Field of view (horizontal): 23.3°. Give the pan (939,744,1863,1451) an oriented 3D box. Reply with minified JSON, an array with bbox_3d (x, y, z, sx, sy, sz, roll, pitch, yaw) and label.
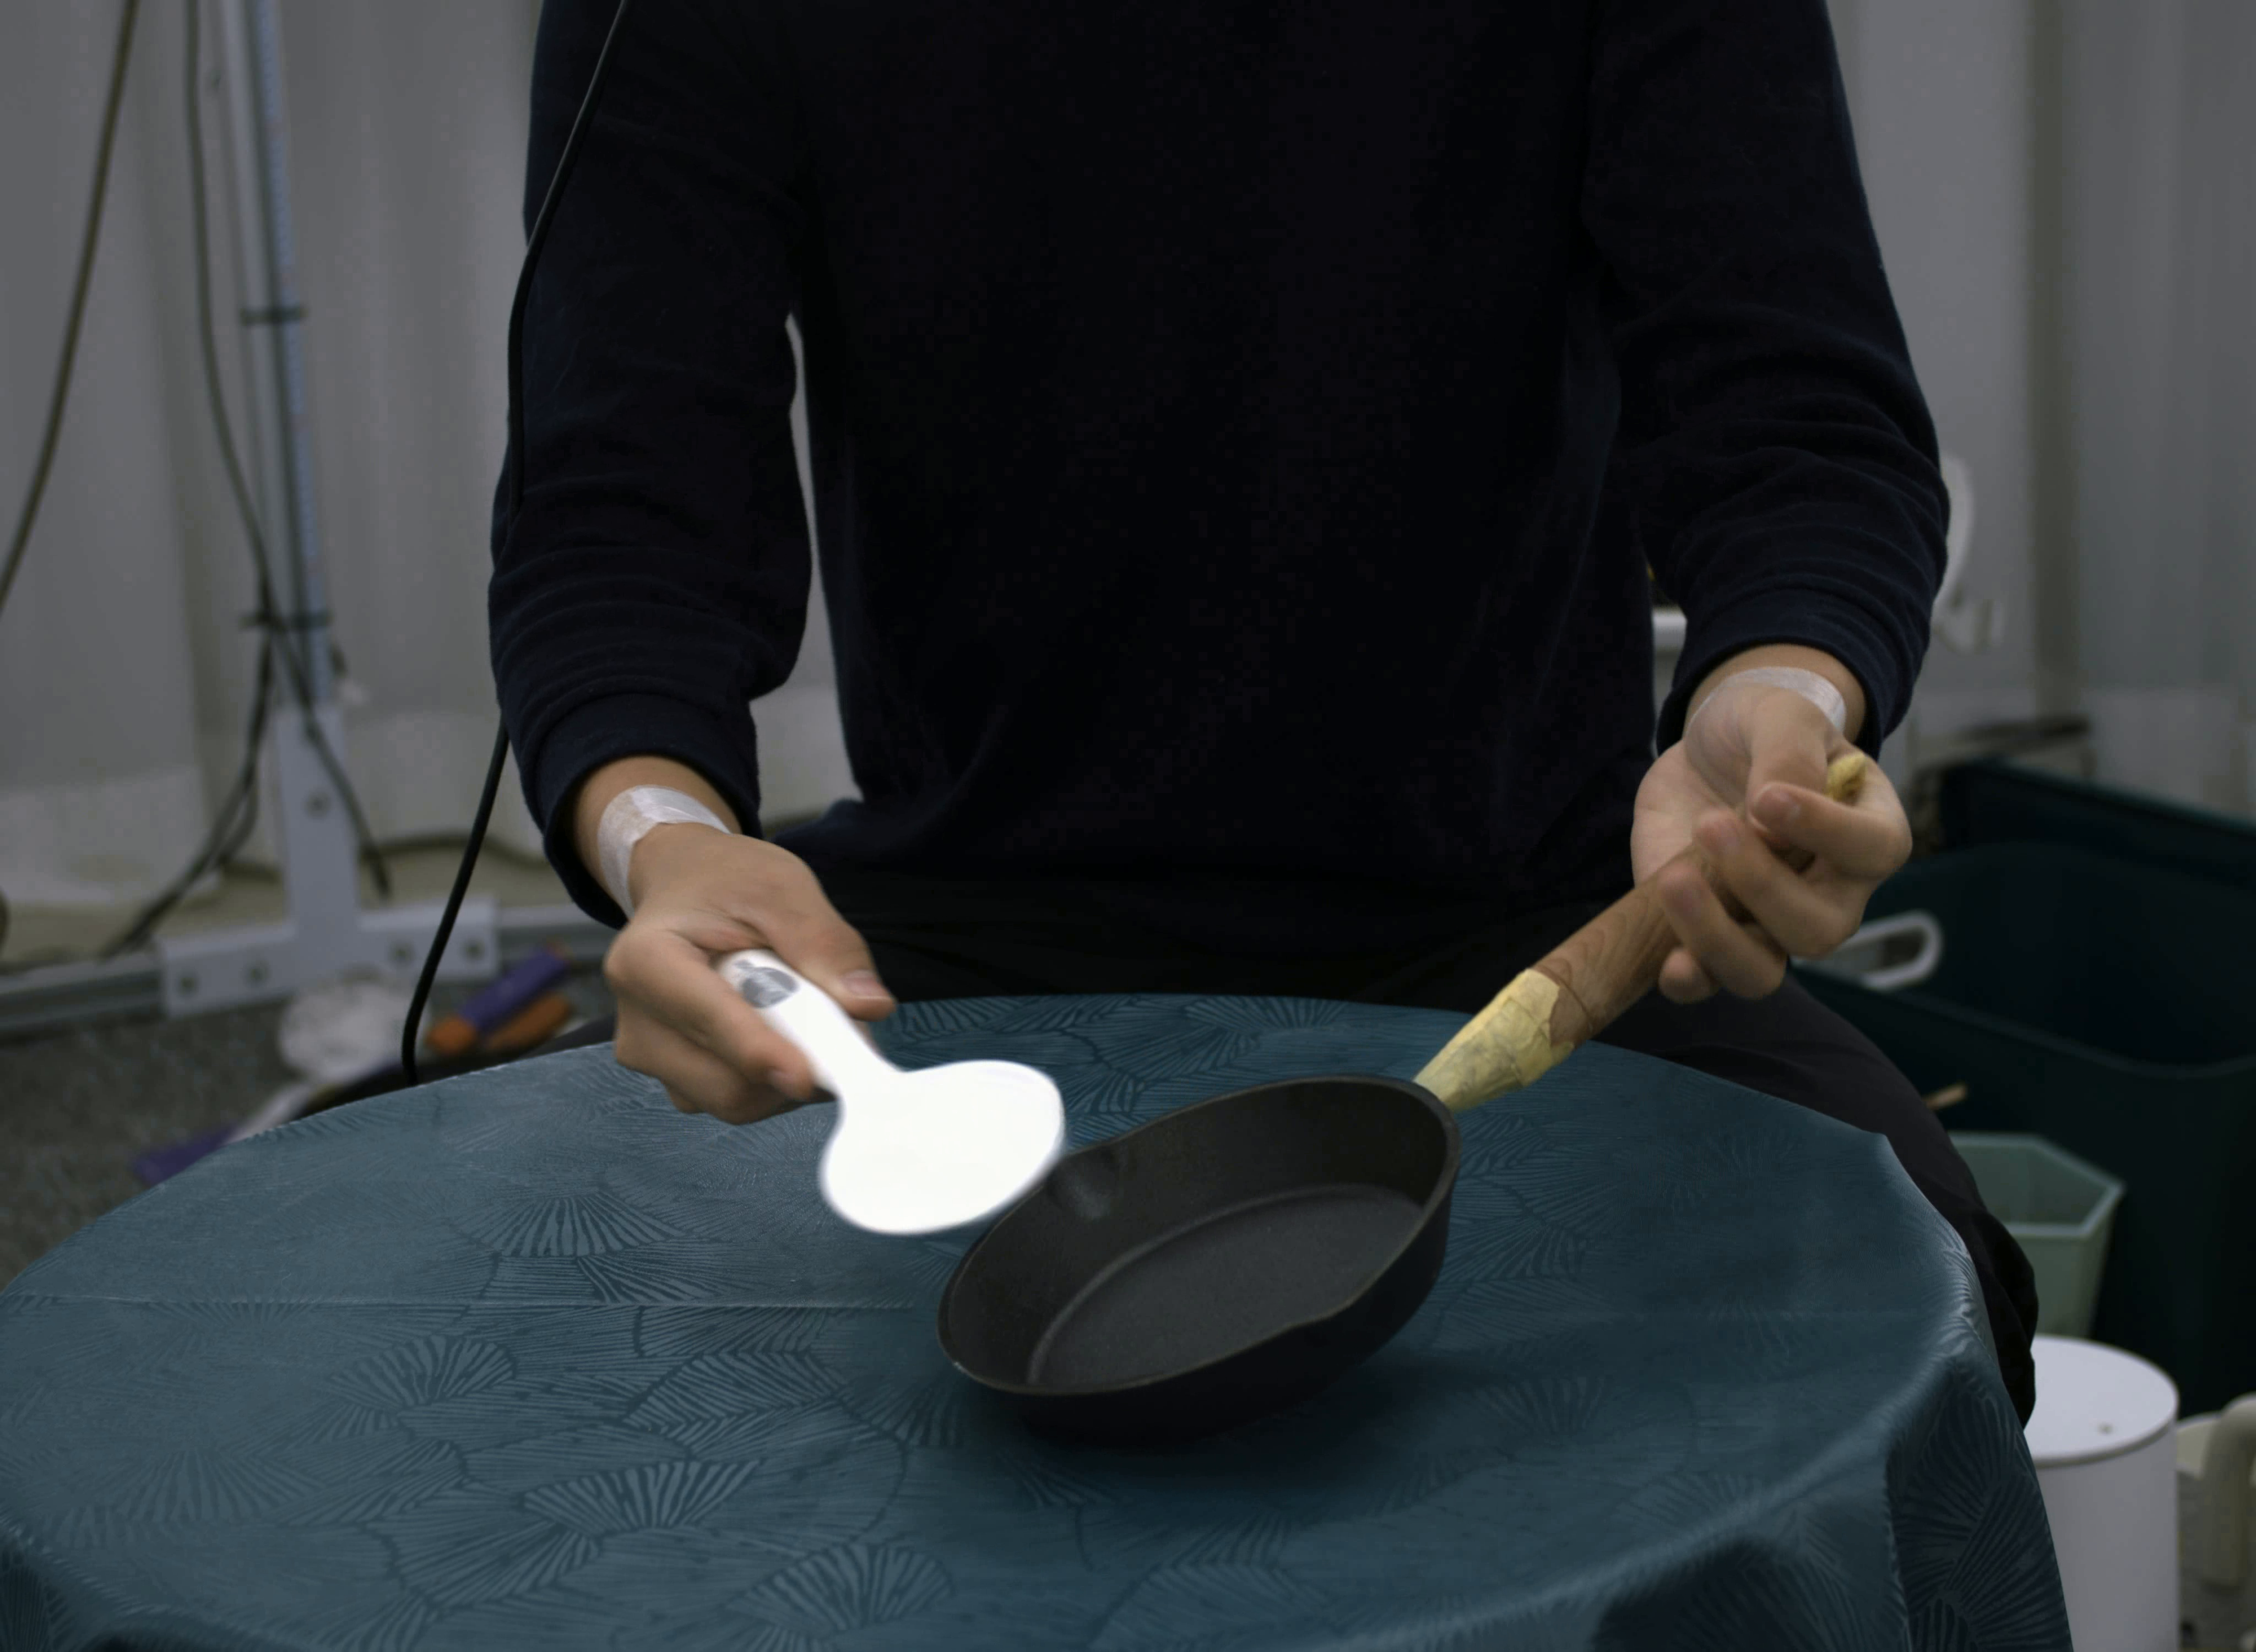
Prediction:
[{"bbox_3d":[0.091,0.076,1.553,0.324,0.049,0.170,-32,23,-16],"label":"pan"}]

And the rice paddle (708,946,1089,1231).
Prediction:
[{"bbox_3d":[-0.069,0.073,1.544,0.069,0.029,0.207,-34,25,-14],"label":"rice paddle"}]
